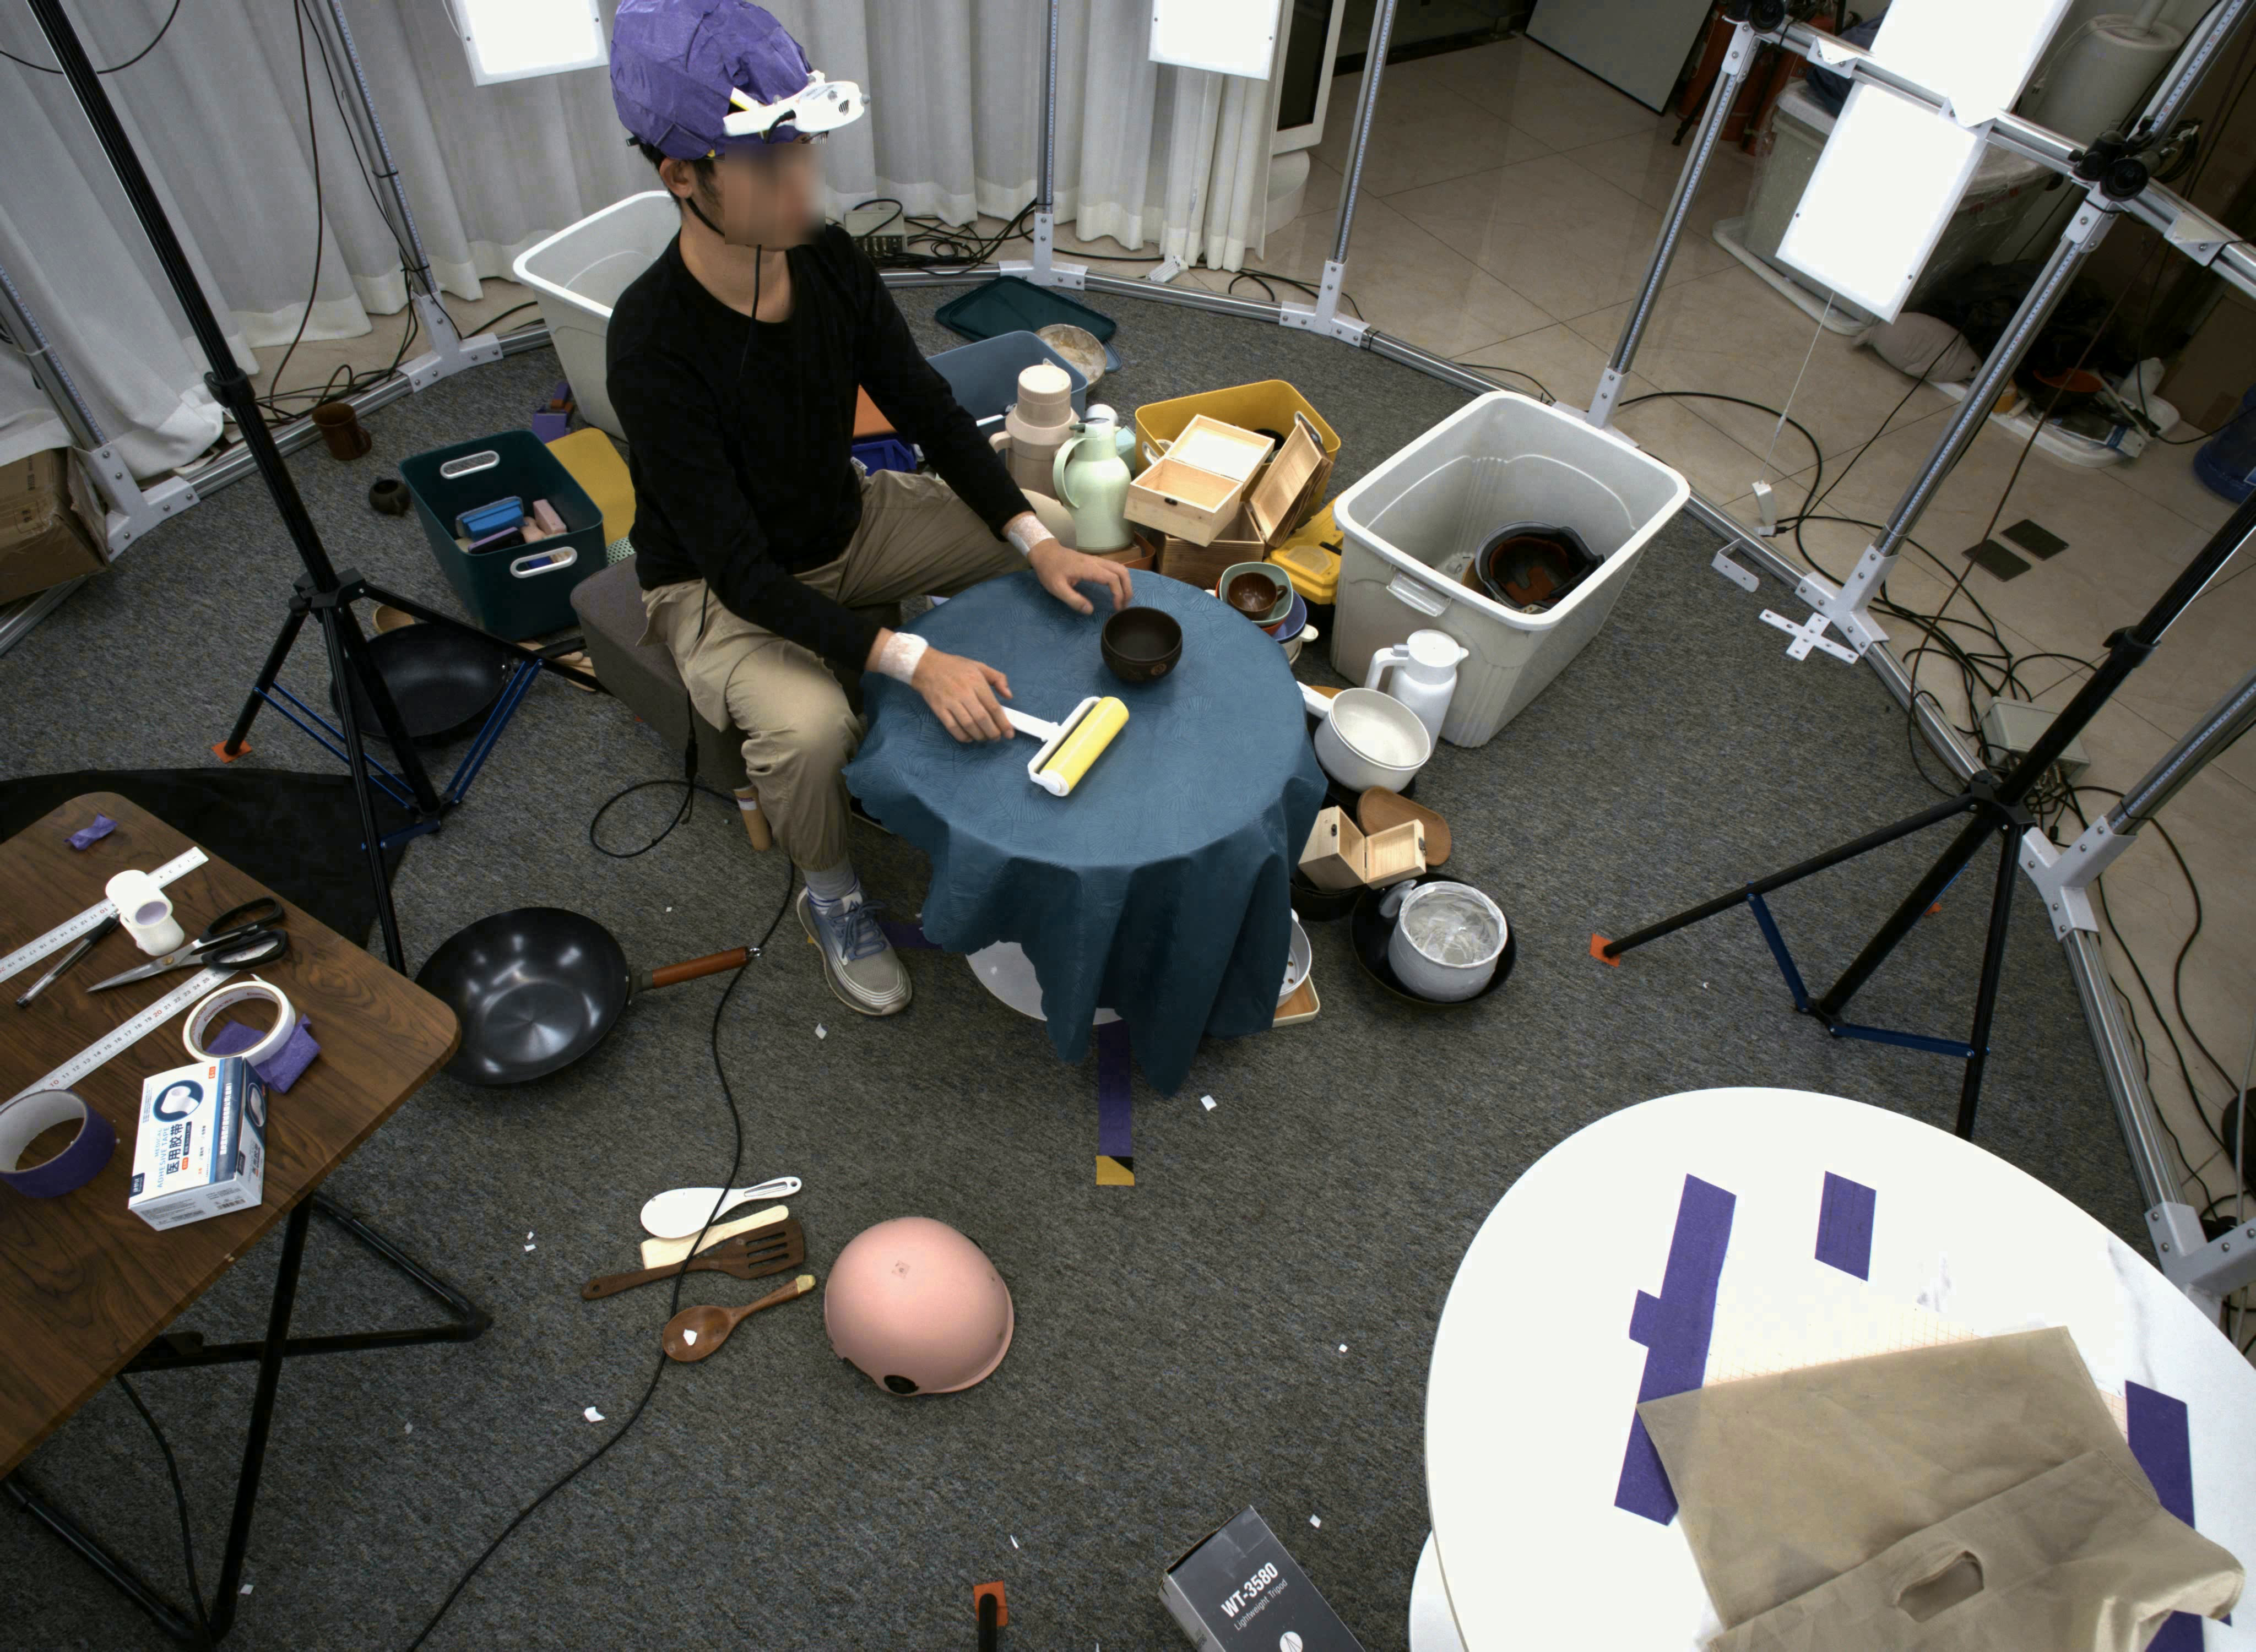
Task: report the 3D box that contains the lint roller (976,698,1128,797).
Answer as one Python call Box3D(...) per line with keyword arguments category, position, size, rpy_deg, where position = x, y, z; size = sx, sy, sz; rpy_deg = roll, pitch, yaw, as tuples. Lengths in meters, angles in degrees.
Box3D(category="lint roller", position=(-0.121, -0.137, 1.747), size=(0.193, 0.050, 0.177), rpy_deg=(26, 52, 12))

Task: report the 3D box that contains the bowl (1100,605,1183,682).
Box3D(category="bowl", position=(0.018, -0.254, 1.843), size=(0.118, 0.068, 0.121), rpy_deg=(3, 49, -3))
